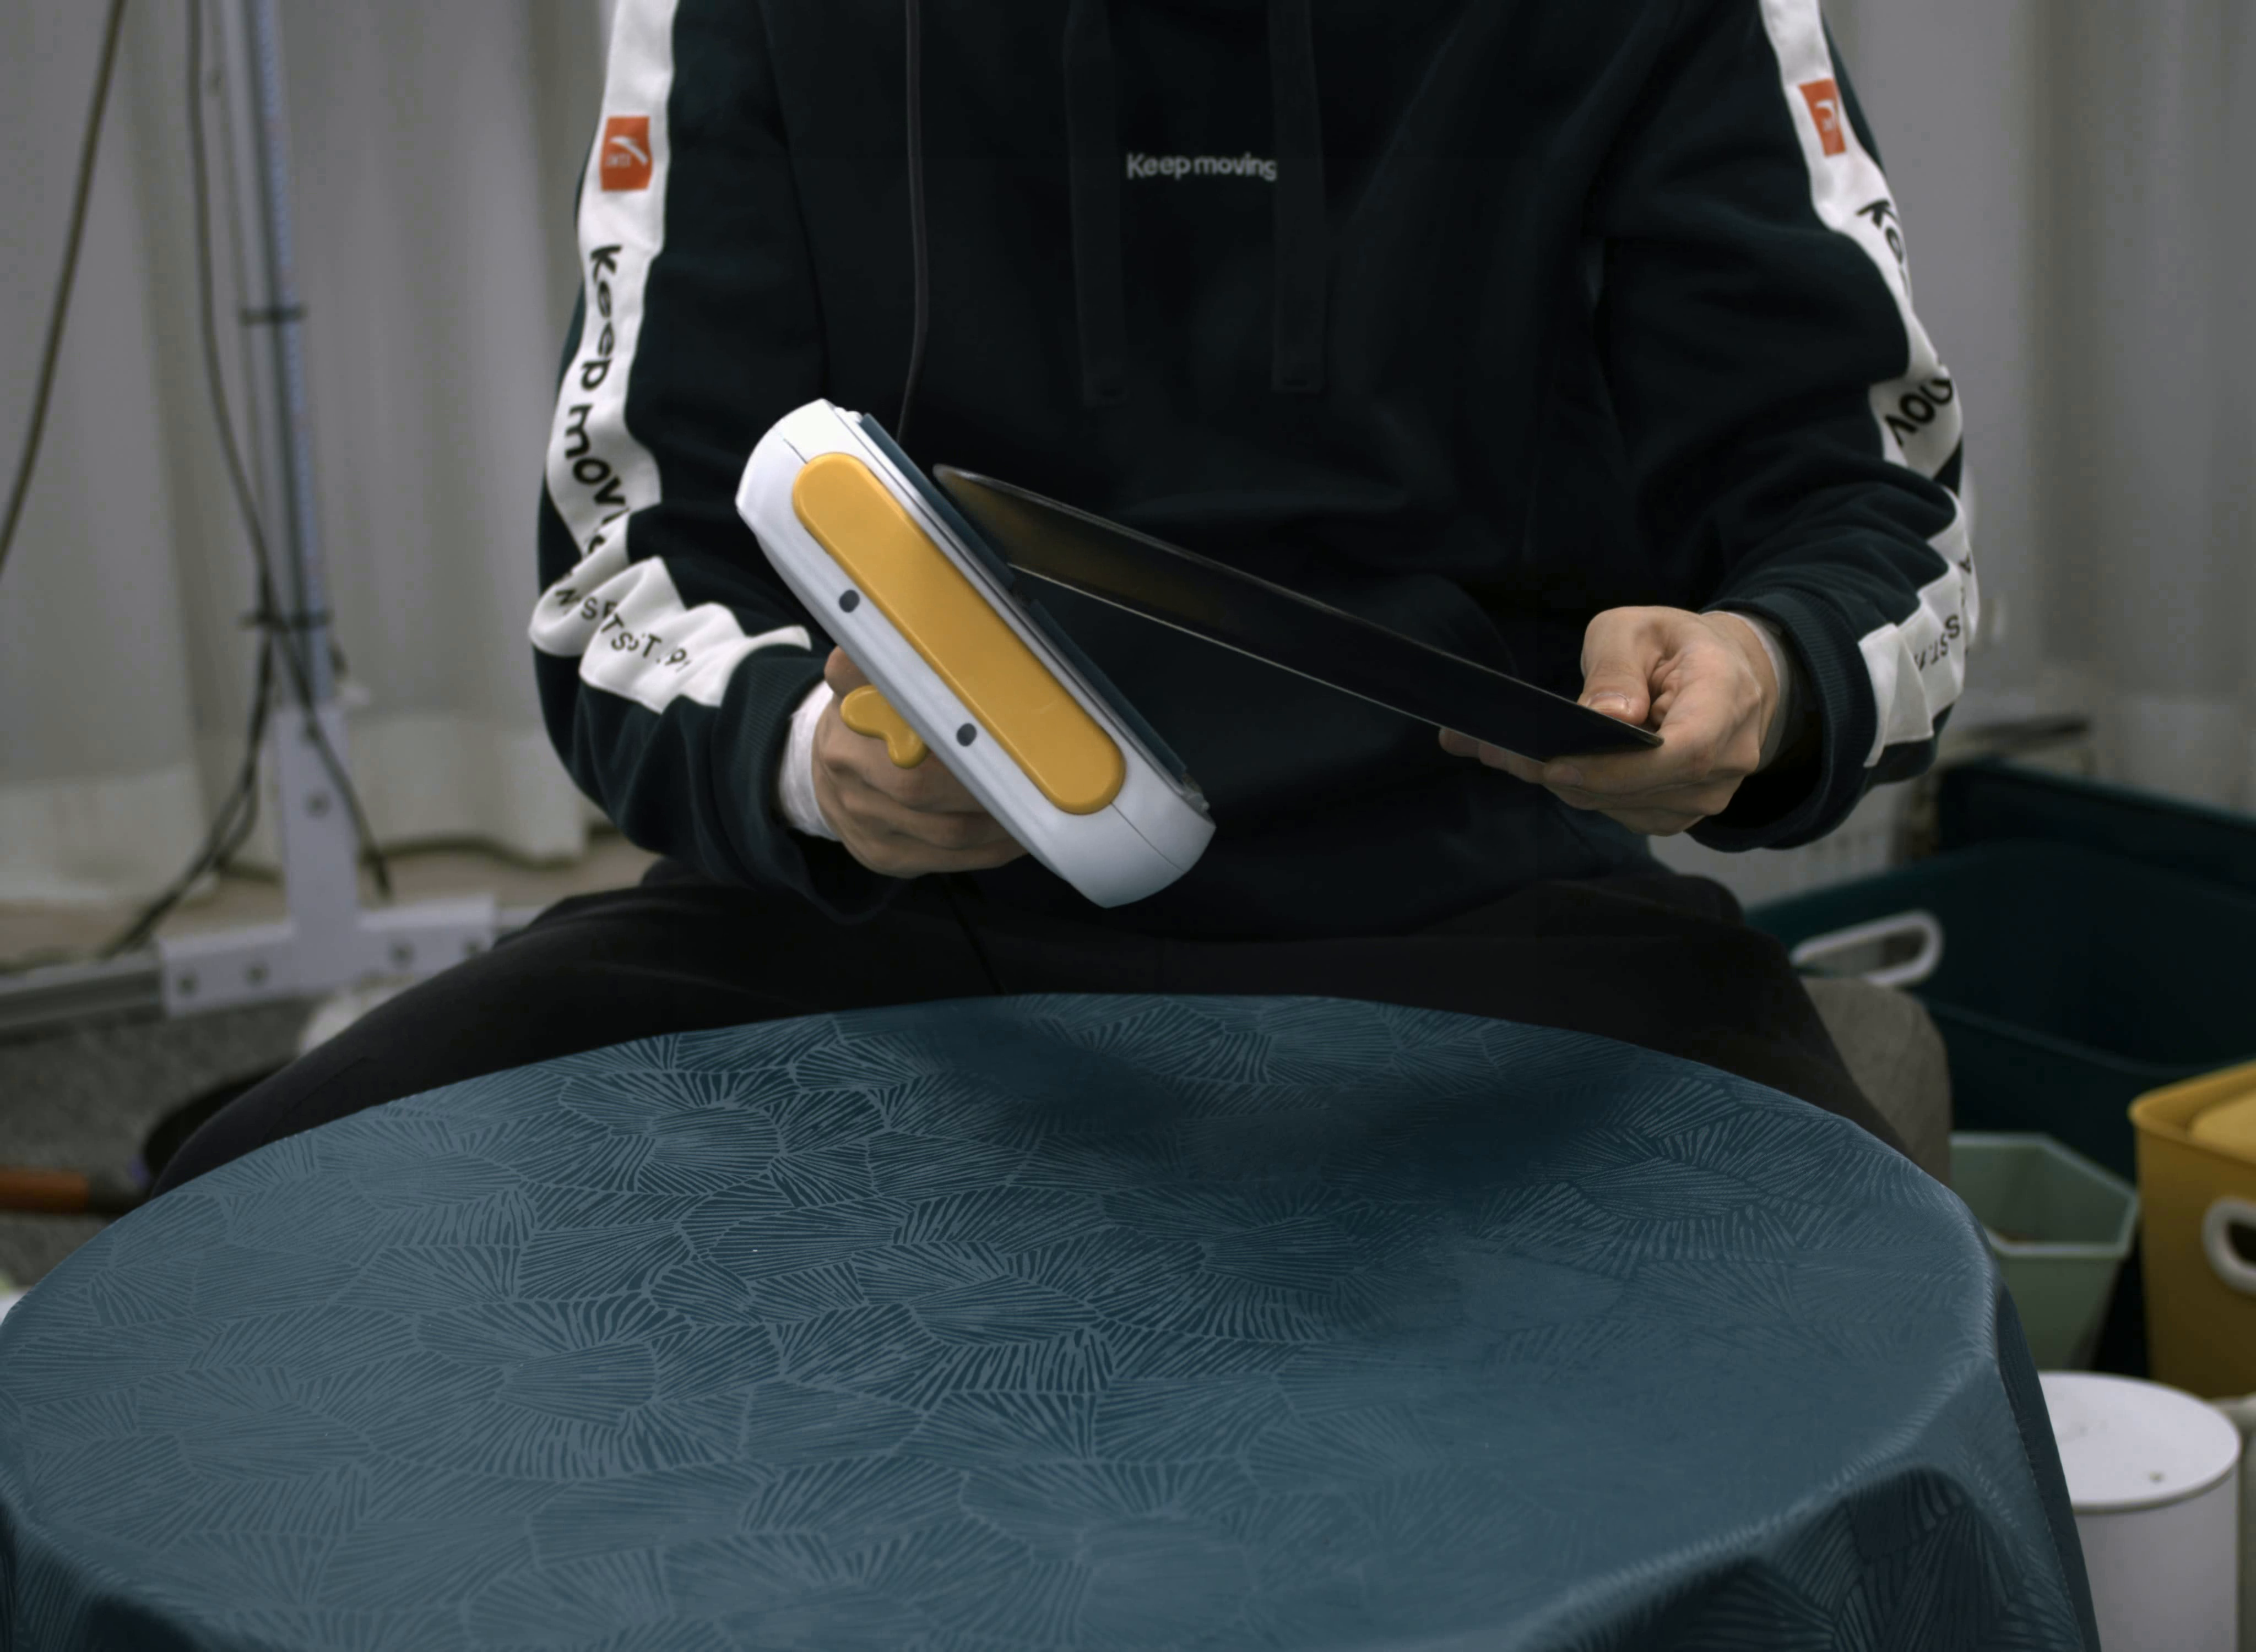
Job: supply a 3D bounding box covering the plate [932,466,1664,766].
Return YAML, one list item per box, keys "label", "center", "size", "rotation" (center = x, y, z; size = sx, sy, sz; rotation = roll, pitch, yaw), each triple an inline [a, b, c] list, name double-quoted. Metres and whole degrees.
- label: "plate"
  center: [0.050, -0.061, 1.708]
  size: [0.244, 0.023, 0.244]
  rotation: [21, 2, -1]

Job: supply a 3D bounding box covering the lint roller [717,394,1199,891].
- label: "lint roller"
  center: [-0.050, -0.039, 1.780]
  size: [0.194, 0.074, 0.191]
  rotation: [43, -5, 17]
